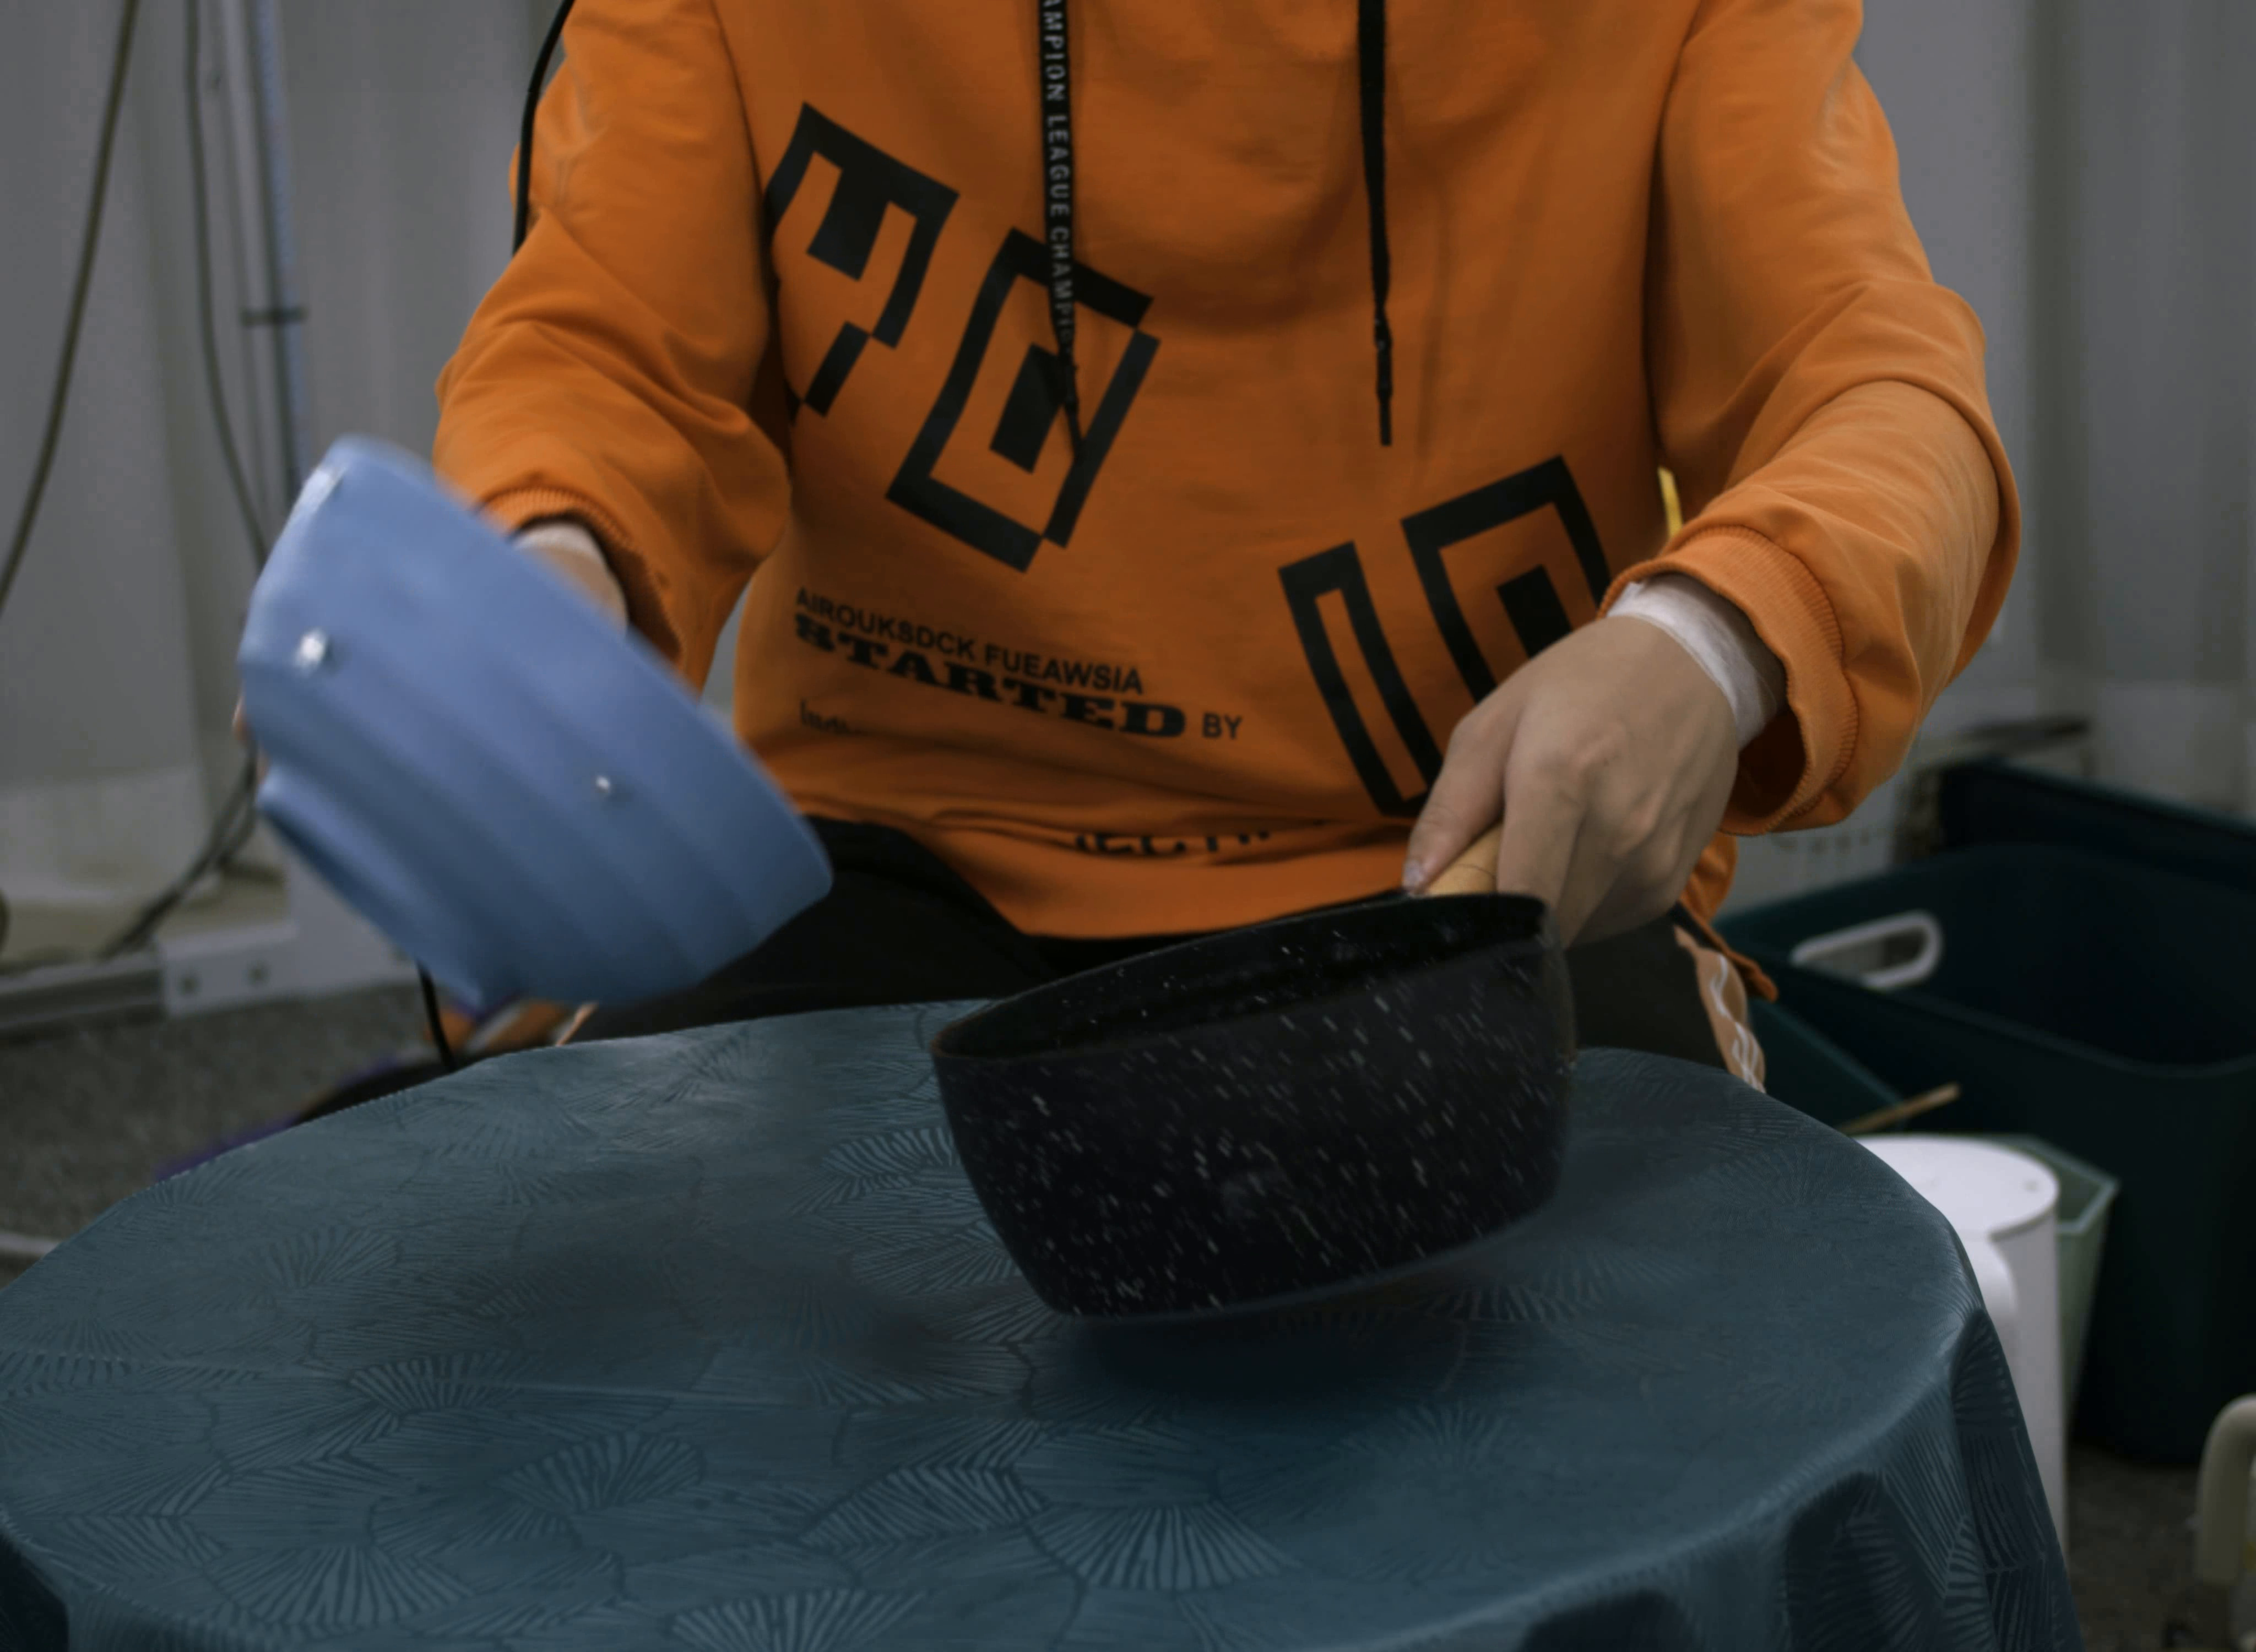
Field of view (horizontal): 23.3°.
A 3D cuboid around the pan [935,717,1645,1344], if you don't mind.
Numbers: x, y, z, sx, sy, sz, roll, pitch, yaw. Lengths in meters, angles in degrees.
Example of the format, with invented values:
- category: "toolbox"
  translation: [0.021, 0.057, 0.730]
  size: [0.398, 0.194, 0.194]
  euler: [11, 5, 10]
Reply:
- category: "pan"
  translation: [0.080, 0.057, 1.634]
  size: [0.207, 0.108, 0.343]
  euler: [-9, 9, 31]

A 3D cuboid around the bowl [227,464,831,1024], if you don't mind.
- category: "bowl"
  translation: [-0.192, -0.007, 1.602]
  size: [0.096, 0.194, 0.198]
  euler: [-51, 30, -10]
